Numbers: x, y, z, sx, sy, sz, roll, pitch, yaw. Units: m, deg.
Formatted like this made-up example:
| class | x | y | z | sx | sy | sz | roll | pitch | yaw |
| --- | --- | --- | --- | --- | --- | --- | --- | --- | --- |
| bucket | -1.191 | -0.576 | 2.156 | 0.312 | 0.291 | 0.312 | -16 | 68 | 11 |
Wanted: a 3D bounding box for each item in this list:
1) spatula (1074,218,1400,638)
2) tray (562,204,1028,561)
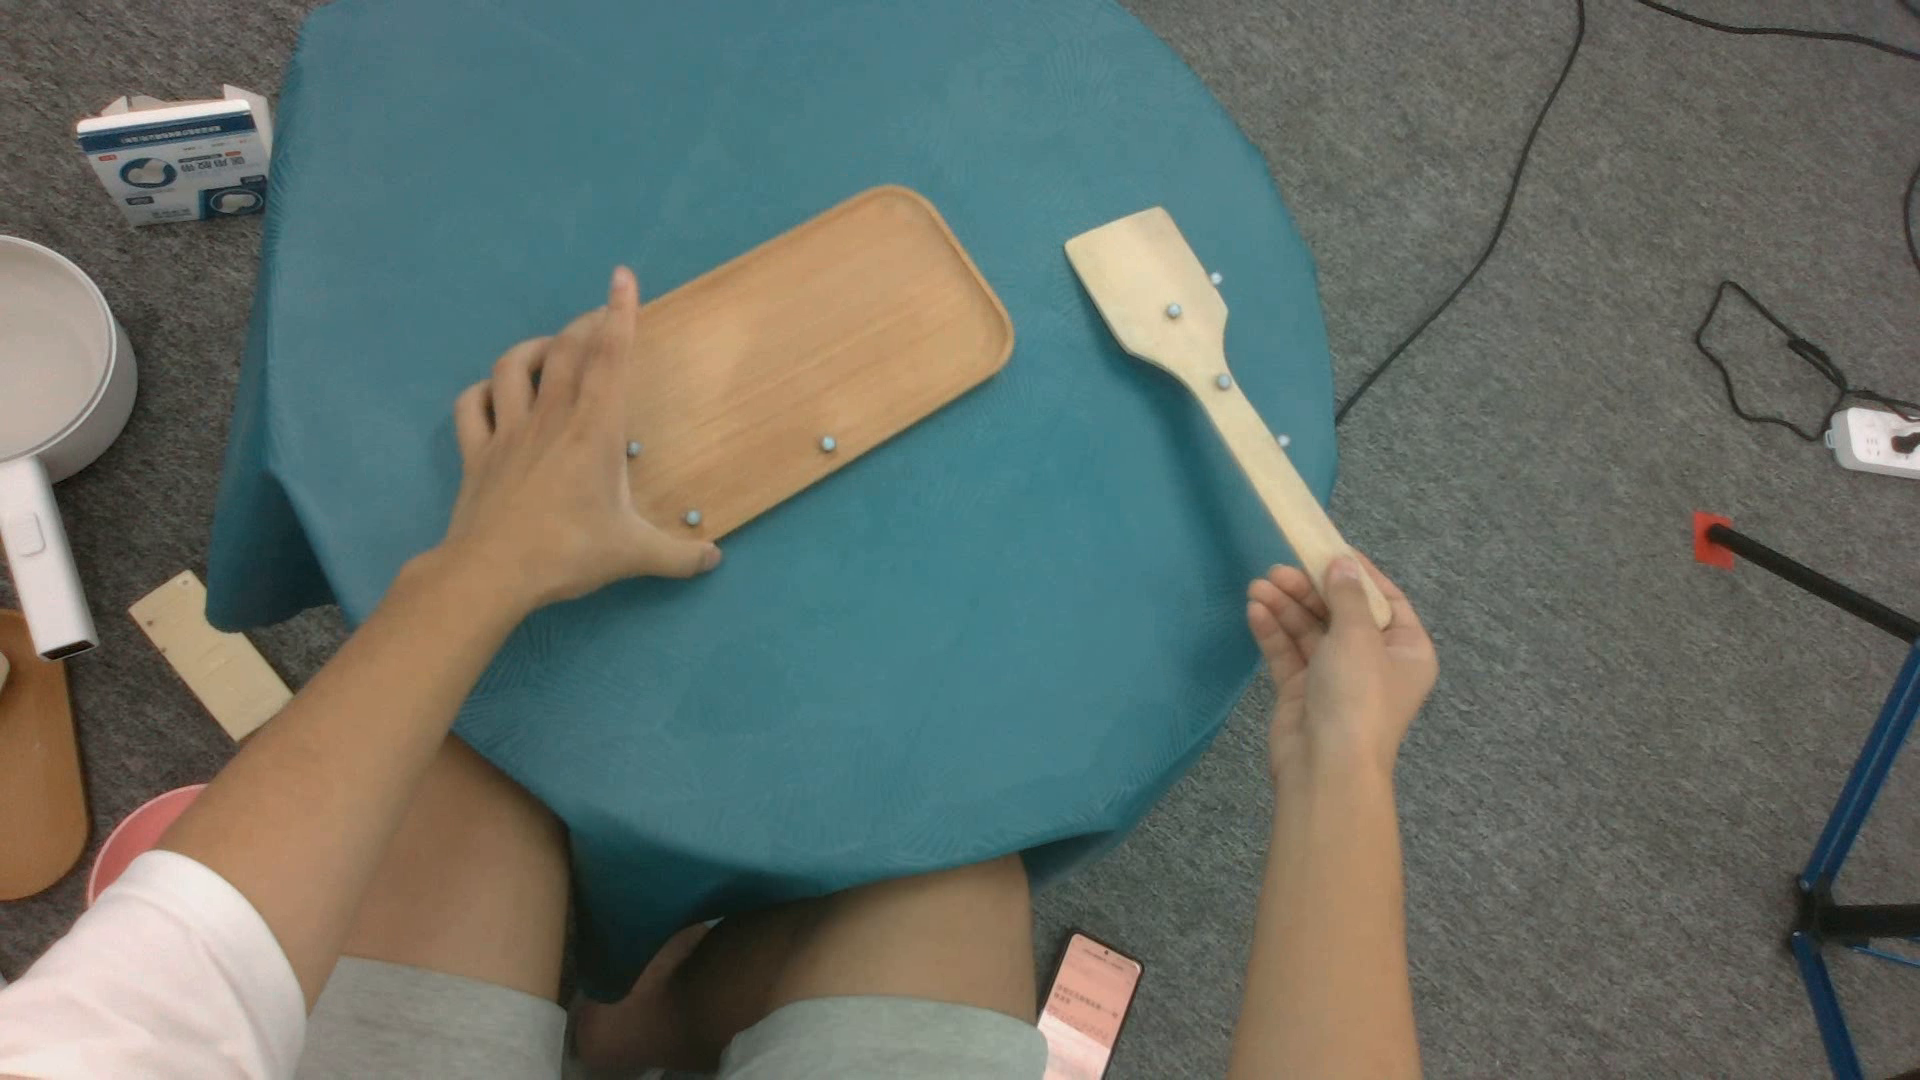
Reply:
| class | x | y | z | sx | sy | sz | roll | pitch | yaw |
| --- | --- | --- | --- | --- | --- | --- | --- | --- | --- |
| spatula | 0.163 | -0.069 | 0.789 | 0.072 | 0.010 | 0.293 | -23 | 66 | -12 |
| tray | -0.086 | -0.092 | 0.766 | 0.251 | 0.023 | 0.130 | -30 | 86 | -21 |
